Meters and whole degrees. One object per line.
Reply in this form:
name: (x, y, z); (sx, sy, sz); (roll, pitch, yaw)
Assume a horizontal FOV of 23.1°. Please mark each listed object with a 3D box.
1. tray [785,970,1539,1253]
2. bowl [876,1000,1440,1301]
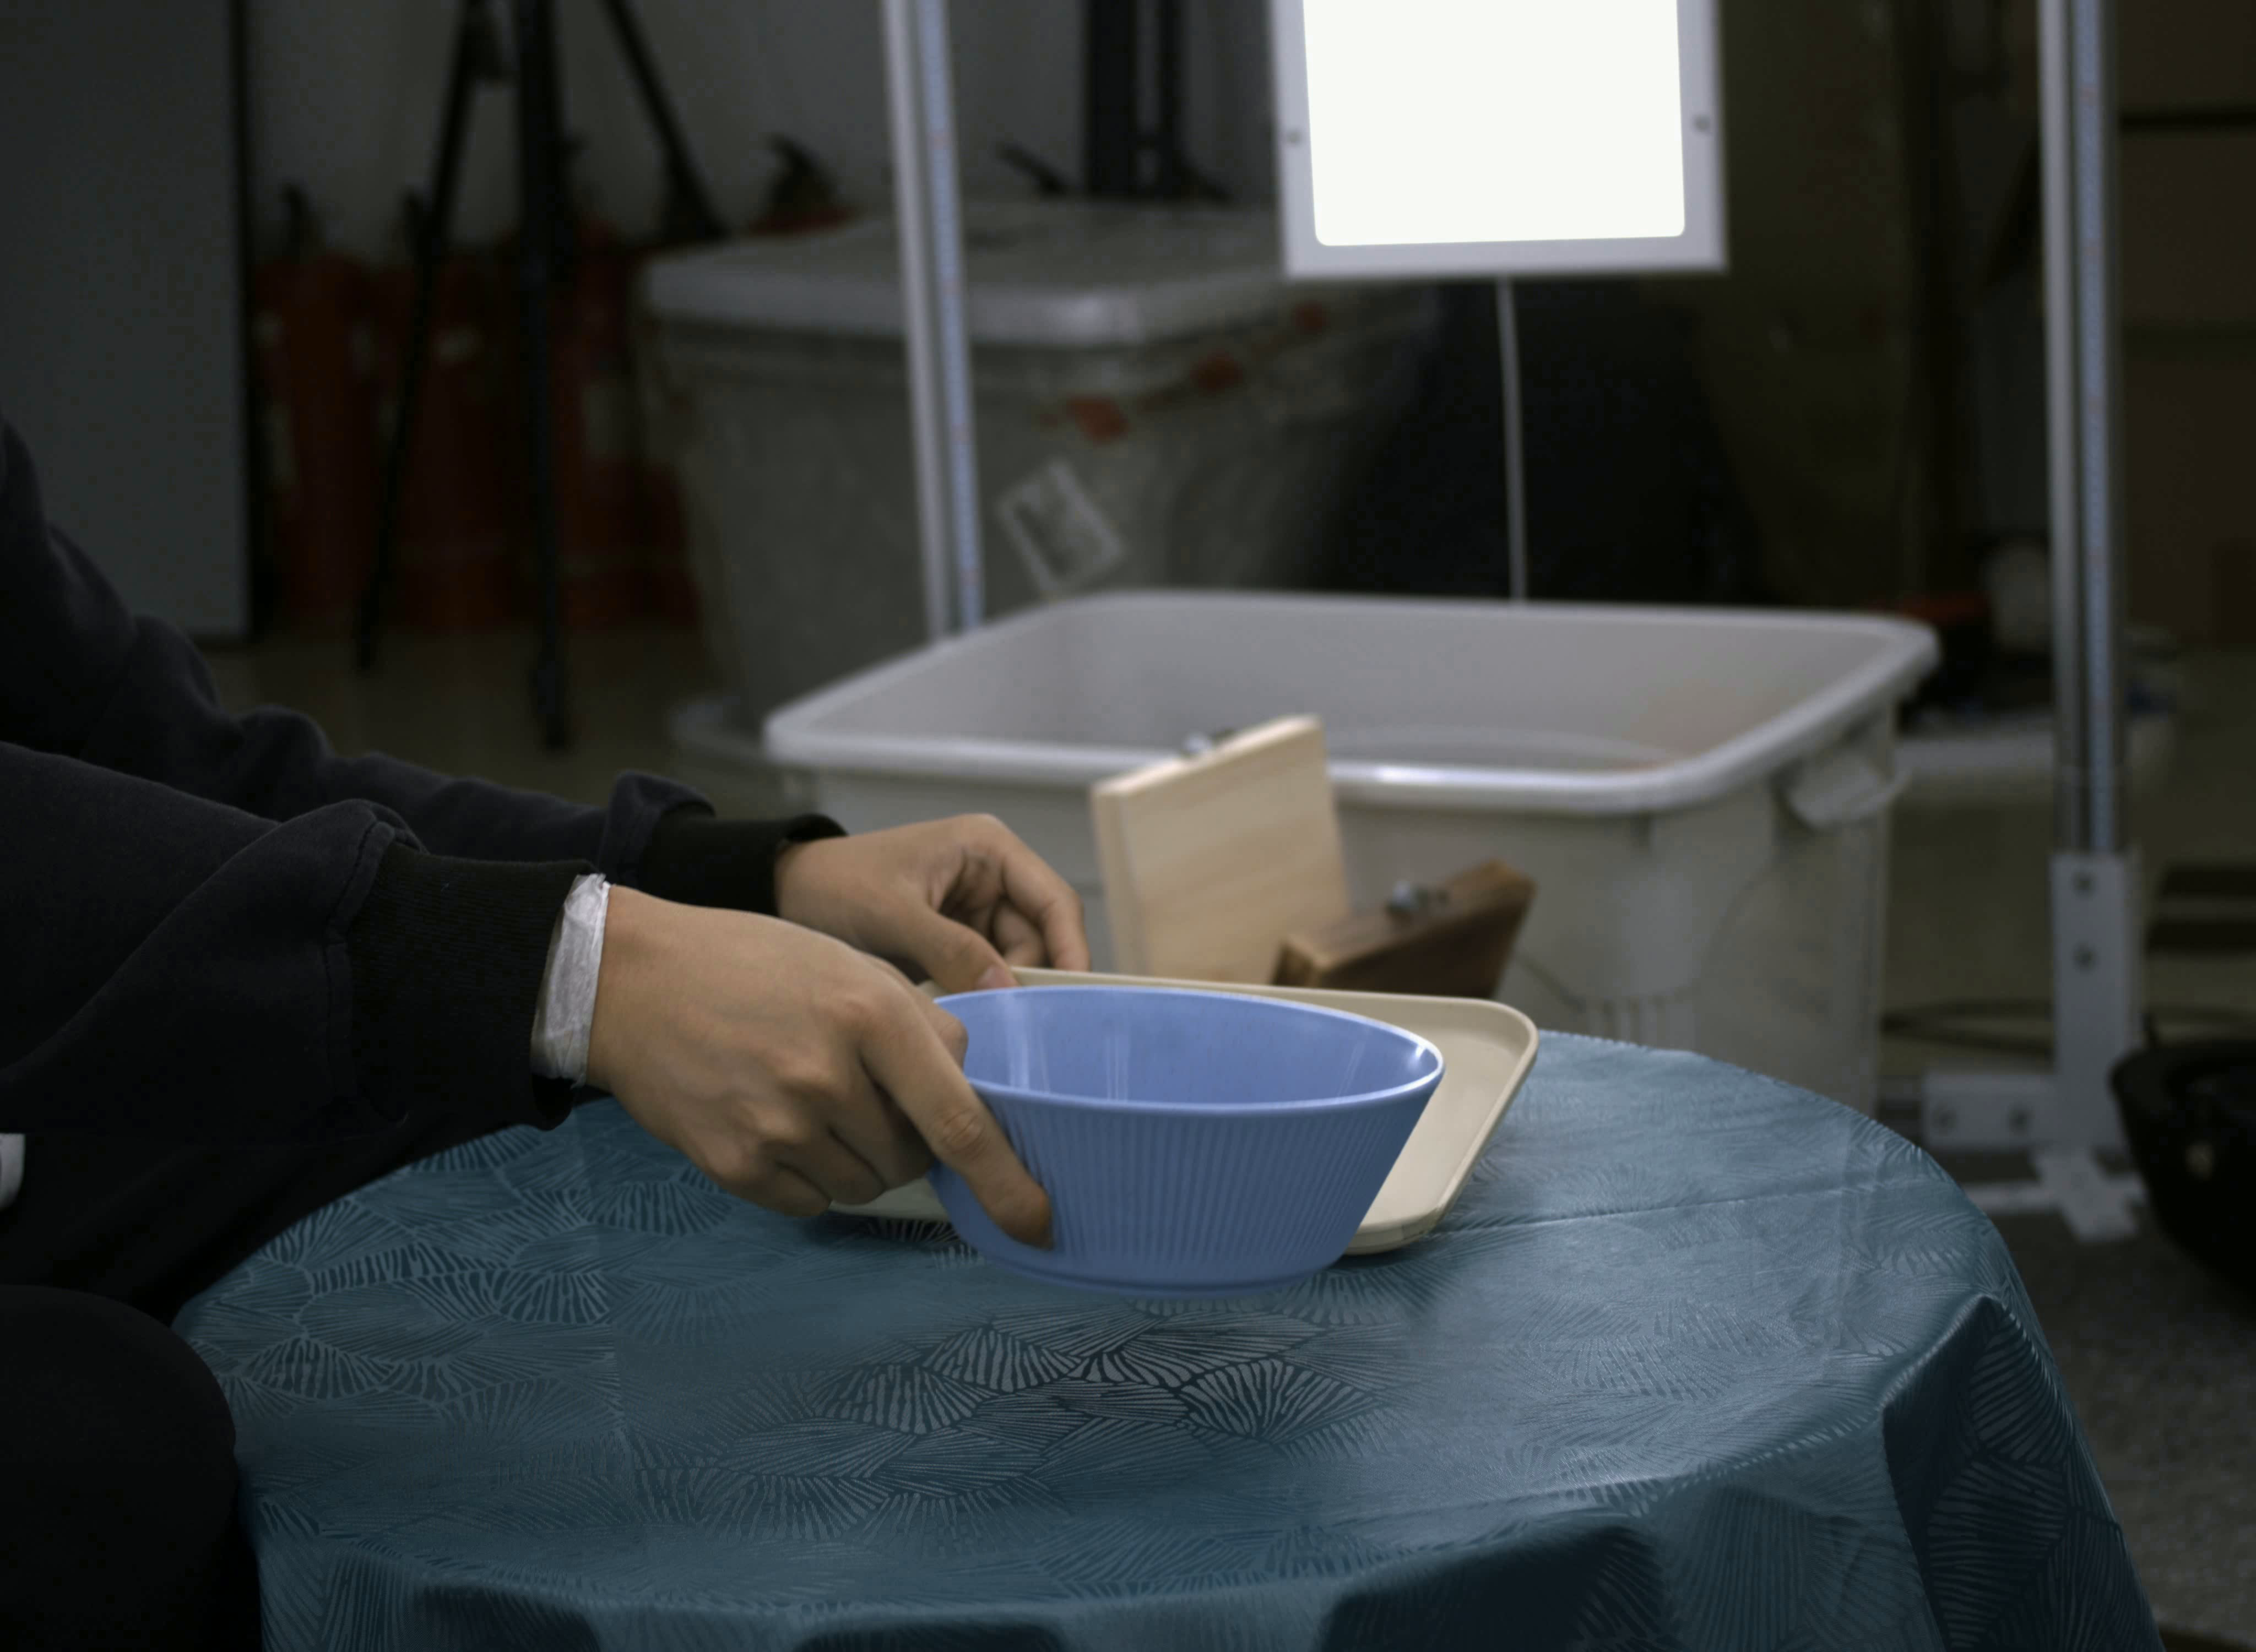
tray: (0.014, 0.098, 1.904); (0.243, 0.017, 0.168); (3, 26, 21)
bowl: (0.007, 0.101, 1.699); (0.175, 0.070, 0.176); (3, 8, -2)
